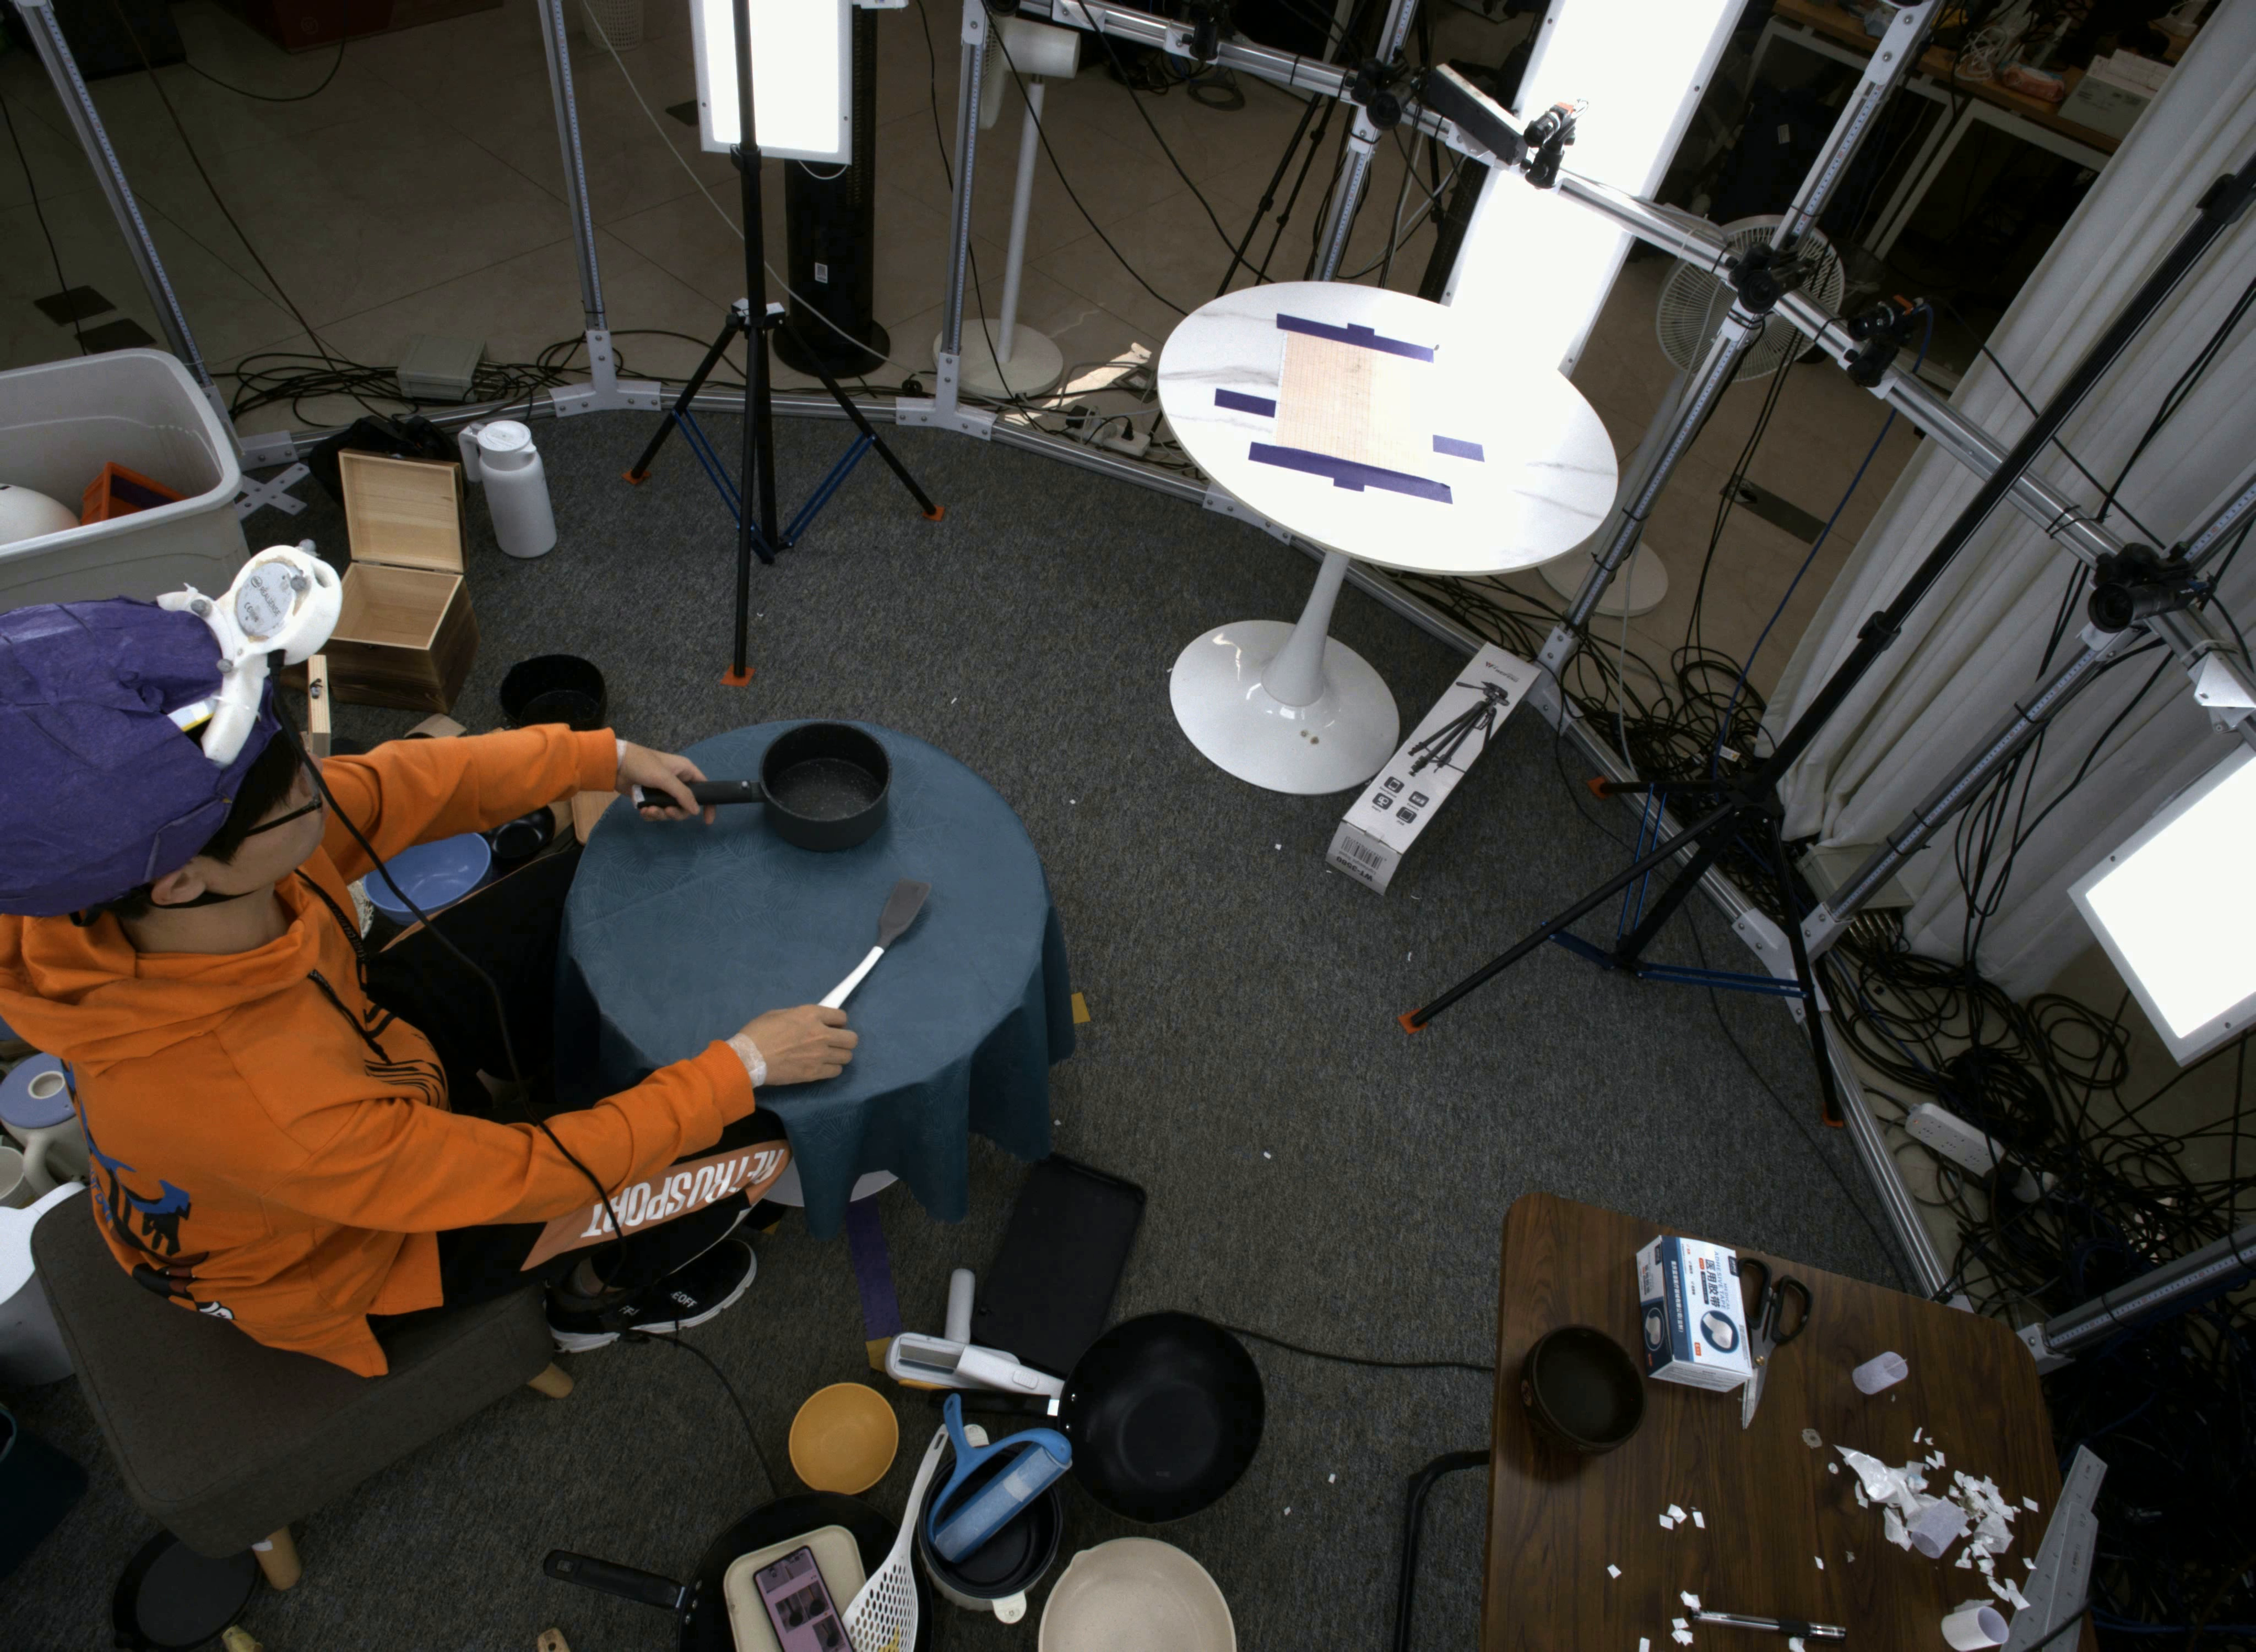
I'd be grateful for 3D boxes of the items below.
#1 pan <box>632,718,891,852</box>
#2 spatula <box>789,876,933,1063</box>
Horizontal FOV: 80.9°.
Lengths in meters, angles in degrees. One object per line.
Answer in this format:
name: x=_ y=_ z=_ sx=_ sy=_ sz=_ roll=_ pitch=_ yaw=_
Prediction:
pan: x=-0.474 y=-0.045 z=1.679 sx=0.330 sy=0.088 sz=0.168 roll=-6 pitch=54 yaw=-21
spatula: x=-0.325 y=0.167 z=1.591 sx=0.057 sy=0.033 sz=0.285 roll=4 pitch=44 yaw=29
